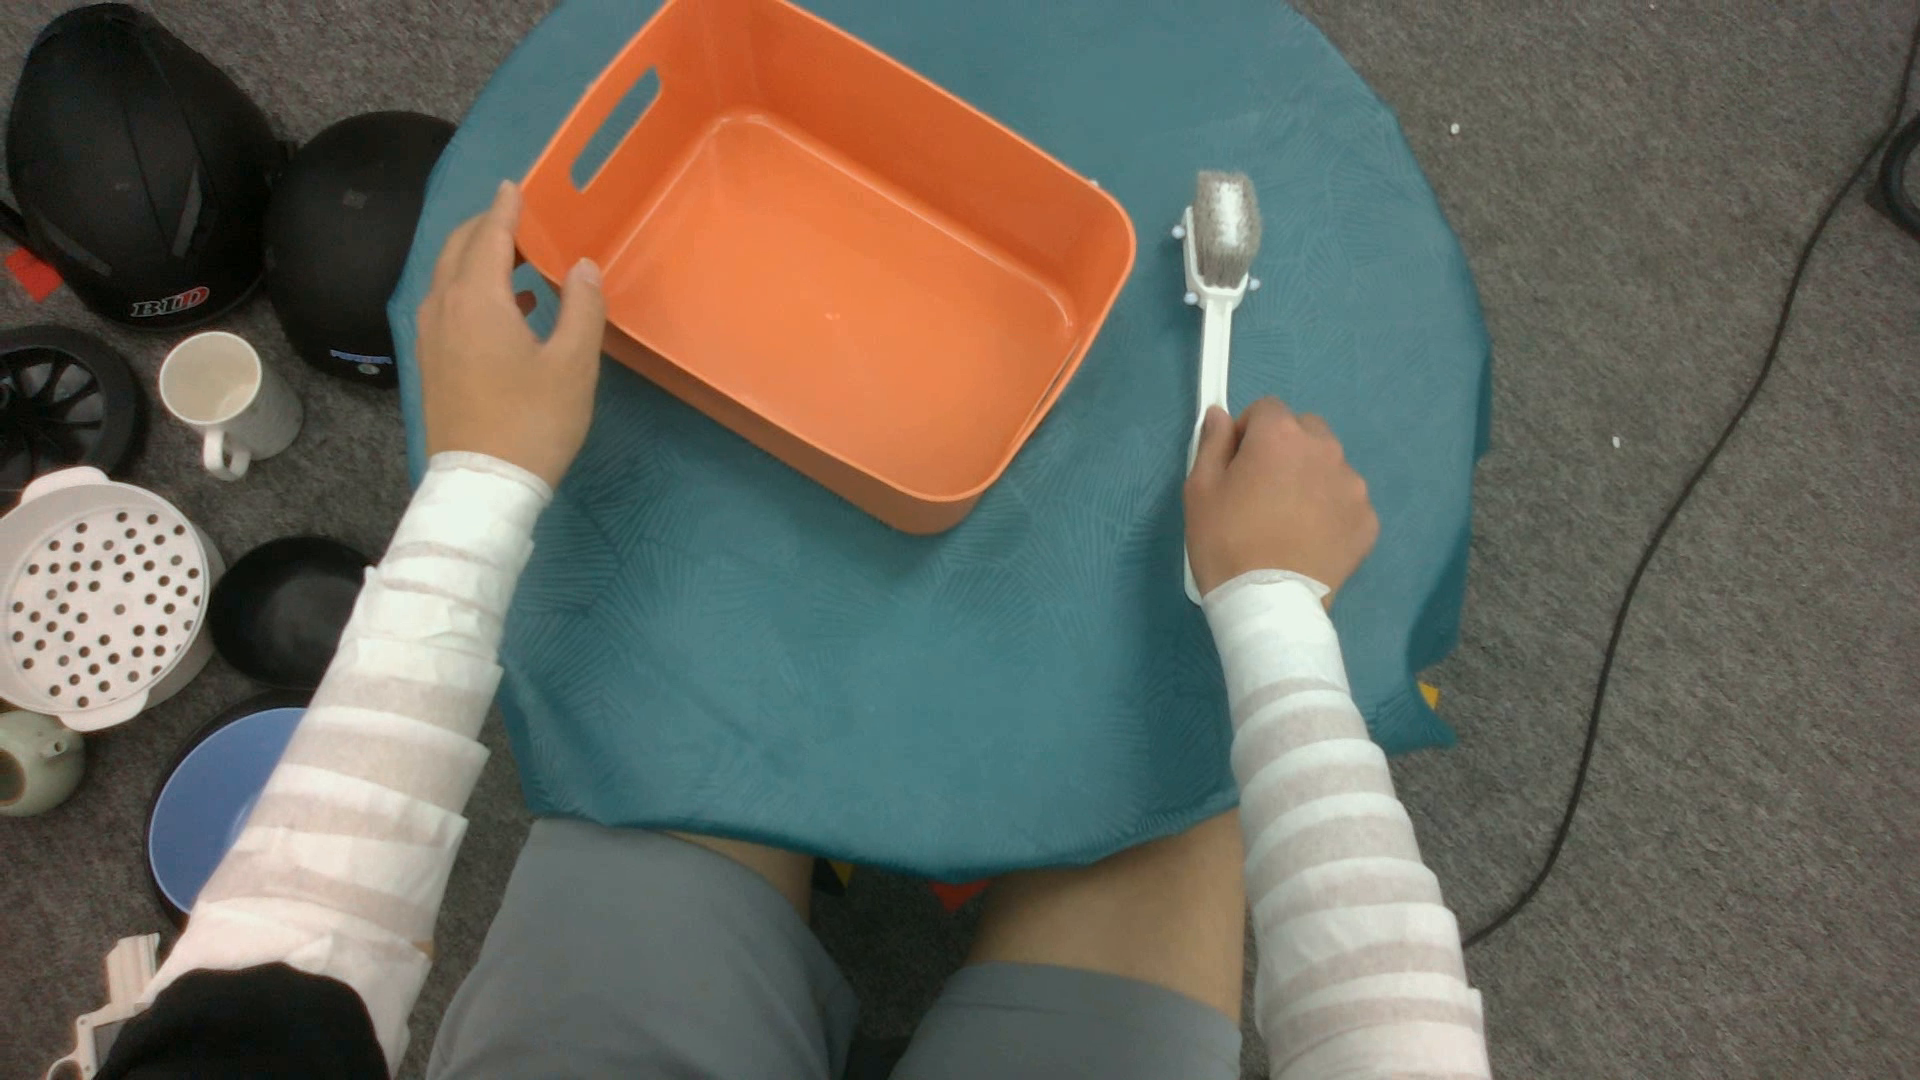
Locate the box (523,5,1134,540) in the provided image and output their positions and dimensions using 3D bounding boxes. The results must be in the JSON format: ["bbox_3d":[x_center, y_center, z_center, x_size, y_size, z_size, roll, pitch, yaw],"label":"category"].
[{"bbox_3d":[-0.067,-0.132,0.725,0.273,0.102,0.200,30,73,5],"label":"box"}]

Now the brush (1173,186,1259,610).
[{"bbox_3d":[0.140,-0.084,0.758,0.034,0.050,0.244,8,73,-6],"label":"brush"}]
